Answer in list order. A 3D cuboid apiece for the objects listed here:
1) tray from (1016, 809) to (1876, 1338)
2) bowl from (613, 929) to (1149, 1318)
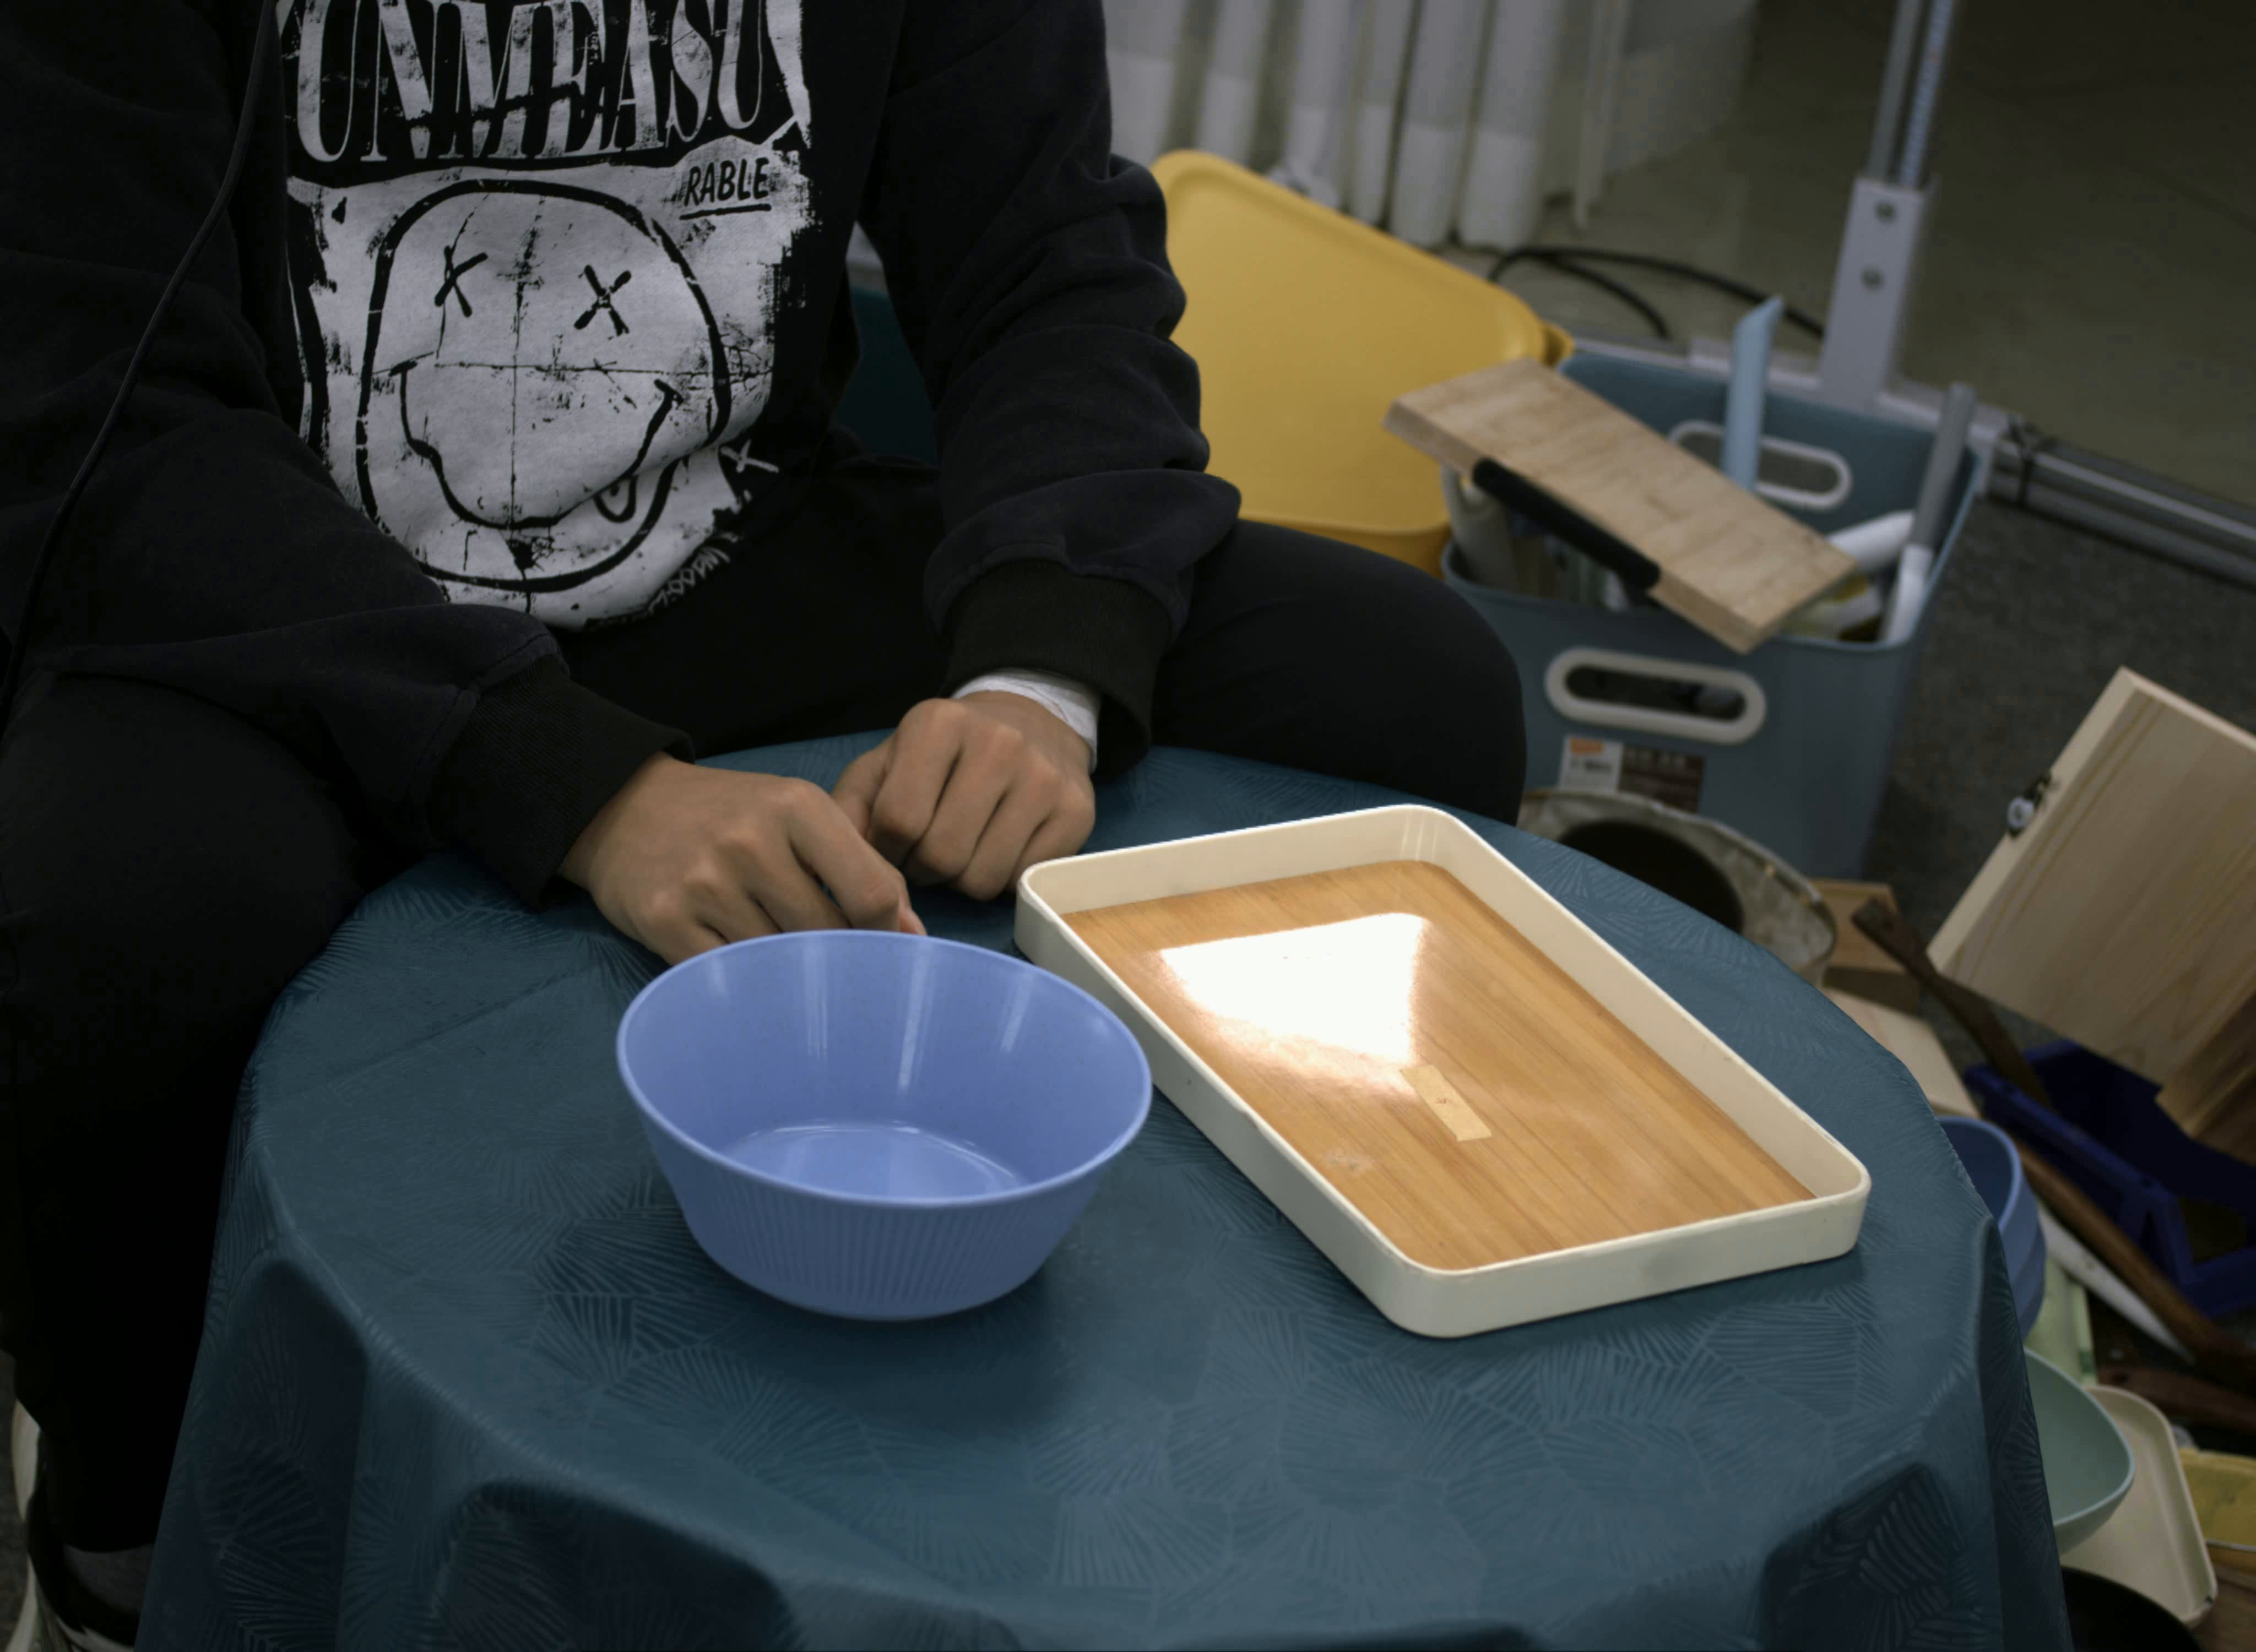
[{"bbox_3d":[0.106,0.081,1.879,0.190,0.027,0.303,-8,30,-28],"label":"tray"},{"bbox_3d":[-0.084,0.103,1.742,0.175,0.070,0.177,6,27,-3],"label":"bowl"}]
